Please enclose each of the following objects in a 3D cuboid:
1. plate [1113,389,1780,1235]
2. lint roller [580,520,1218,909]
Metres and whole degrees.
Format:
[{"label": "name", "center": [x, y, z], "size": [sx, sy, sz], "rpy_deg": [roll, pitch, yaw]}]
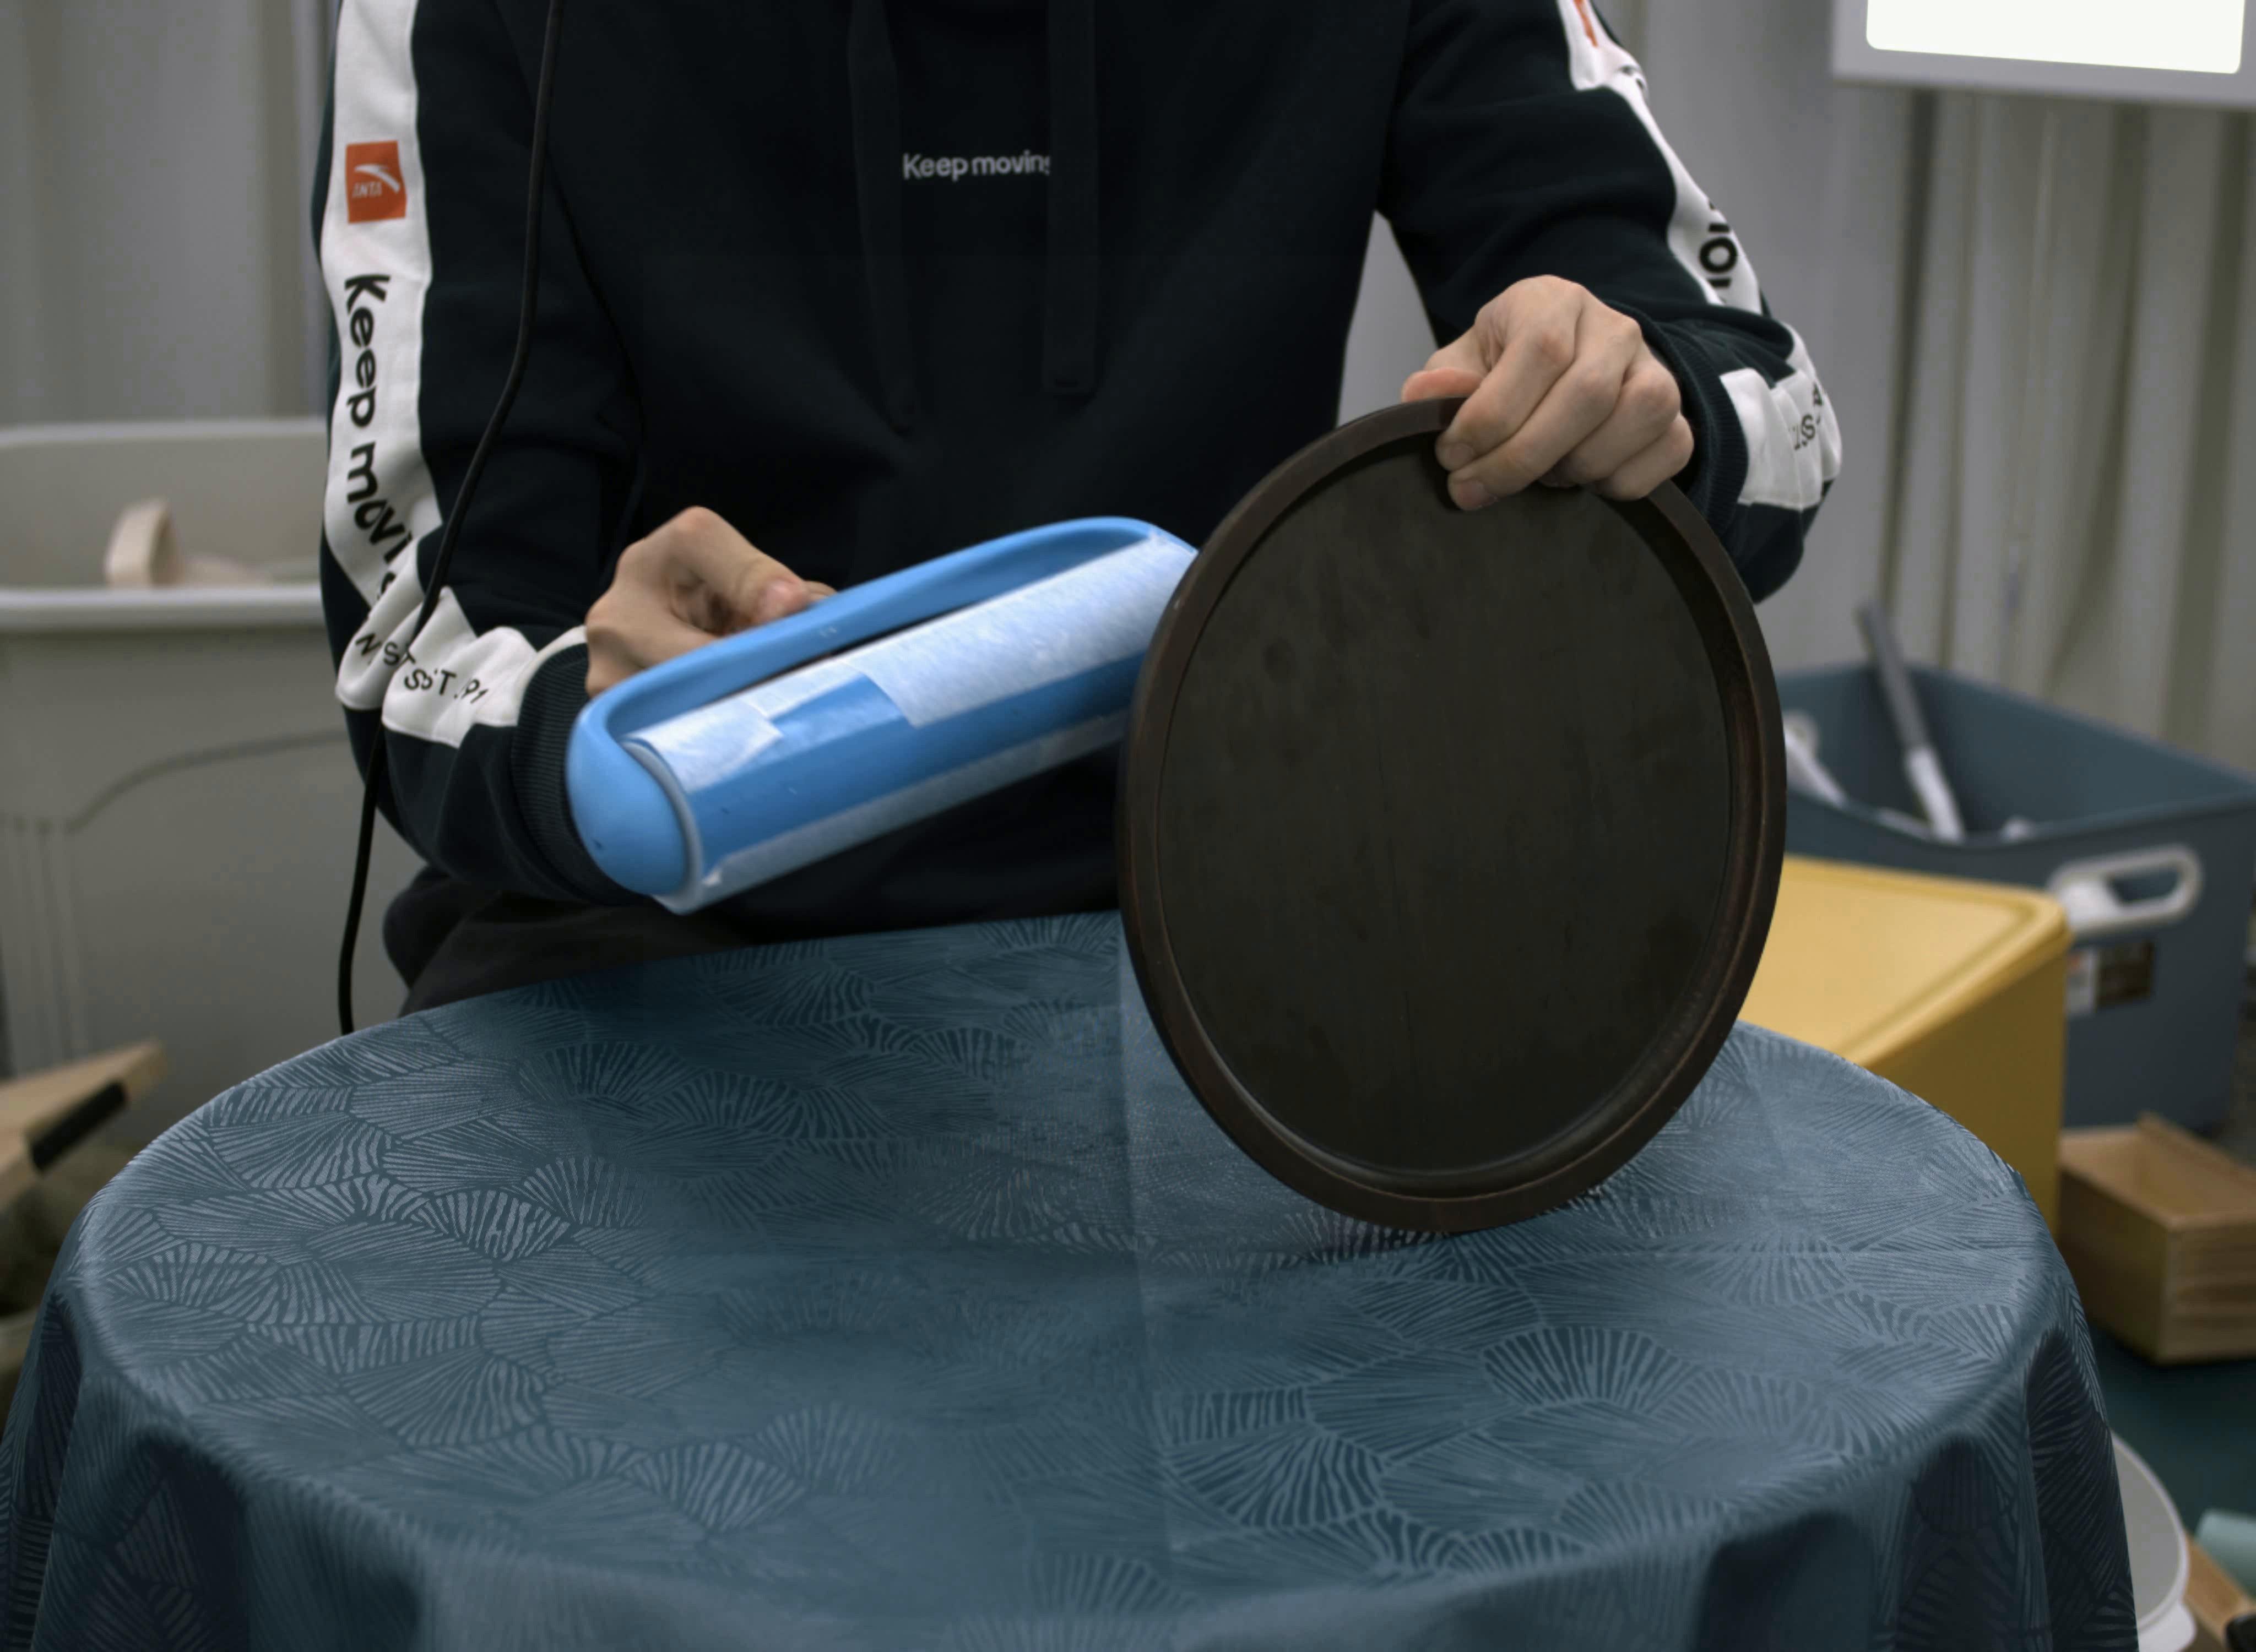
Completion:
[{"label": "plate", "center": [0.097, -0.004, 1.579], "size": [0.256, 0.256, 0.028], "rpy_deg": [-11, 12, -36]}, {"label": "lint roller", "center": [-0.091, -0.035, 1.597], "size": [0.229, 0.068, 0.178], "rpy_deg": [-24, 16, -33]}]
